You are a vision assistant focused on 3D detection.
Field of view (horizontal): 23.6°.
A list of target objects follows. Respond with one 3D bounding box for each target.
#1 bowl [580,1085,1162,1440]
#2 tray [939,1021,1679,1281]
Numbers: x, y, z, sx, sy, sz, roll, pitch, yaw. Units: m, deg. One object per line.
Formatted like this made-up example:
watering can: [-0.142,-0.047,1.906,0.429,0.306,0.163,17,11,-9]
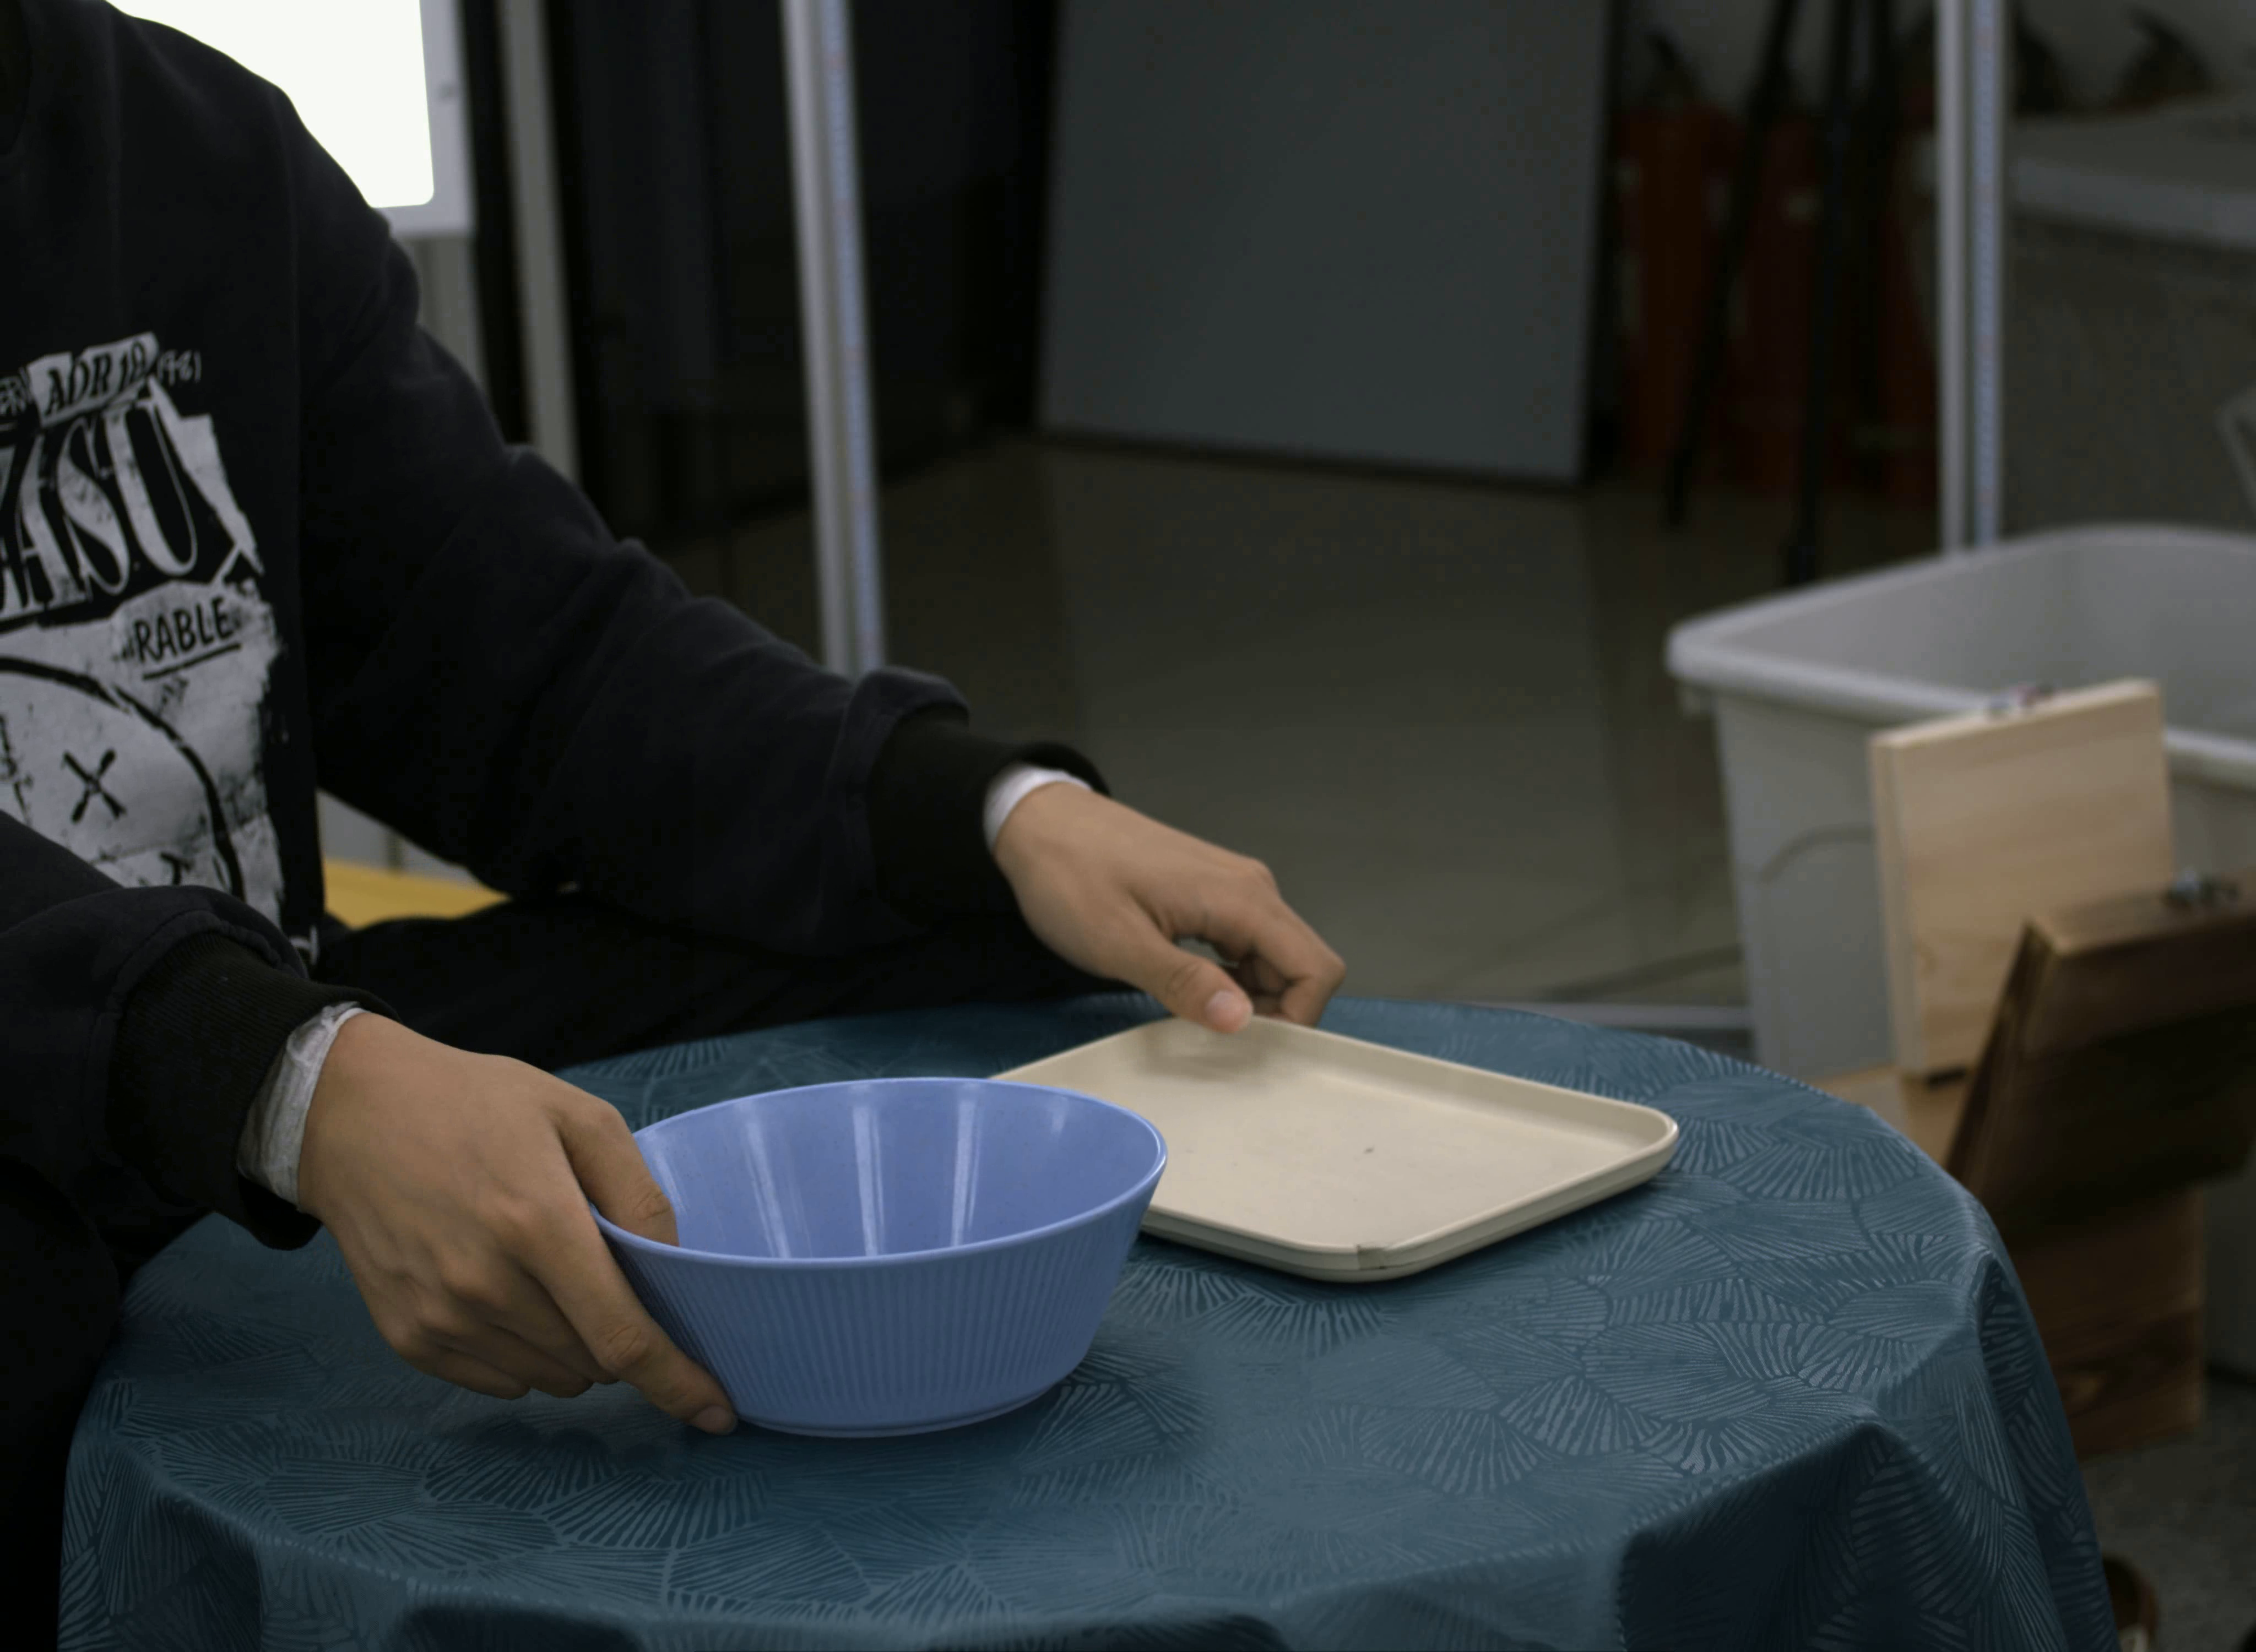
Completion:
bowl: [-0.074,0.132,1.603,0.174,0.071,0.176,-4,13,0]
tray: [0.051,0.106,1.780,0.167,0.017,0.242,-16,18,-41]
